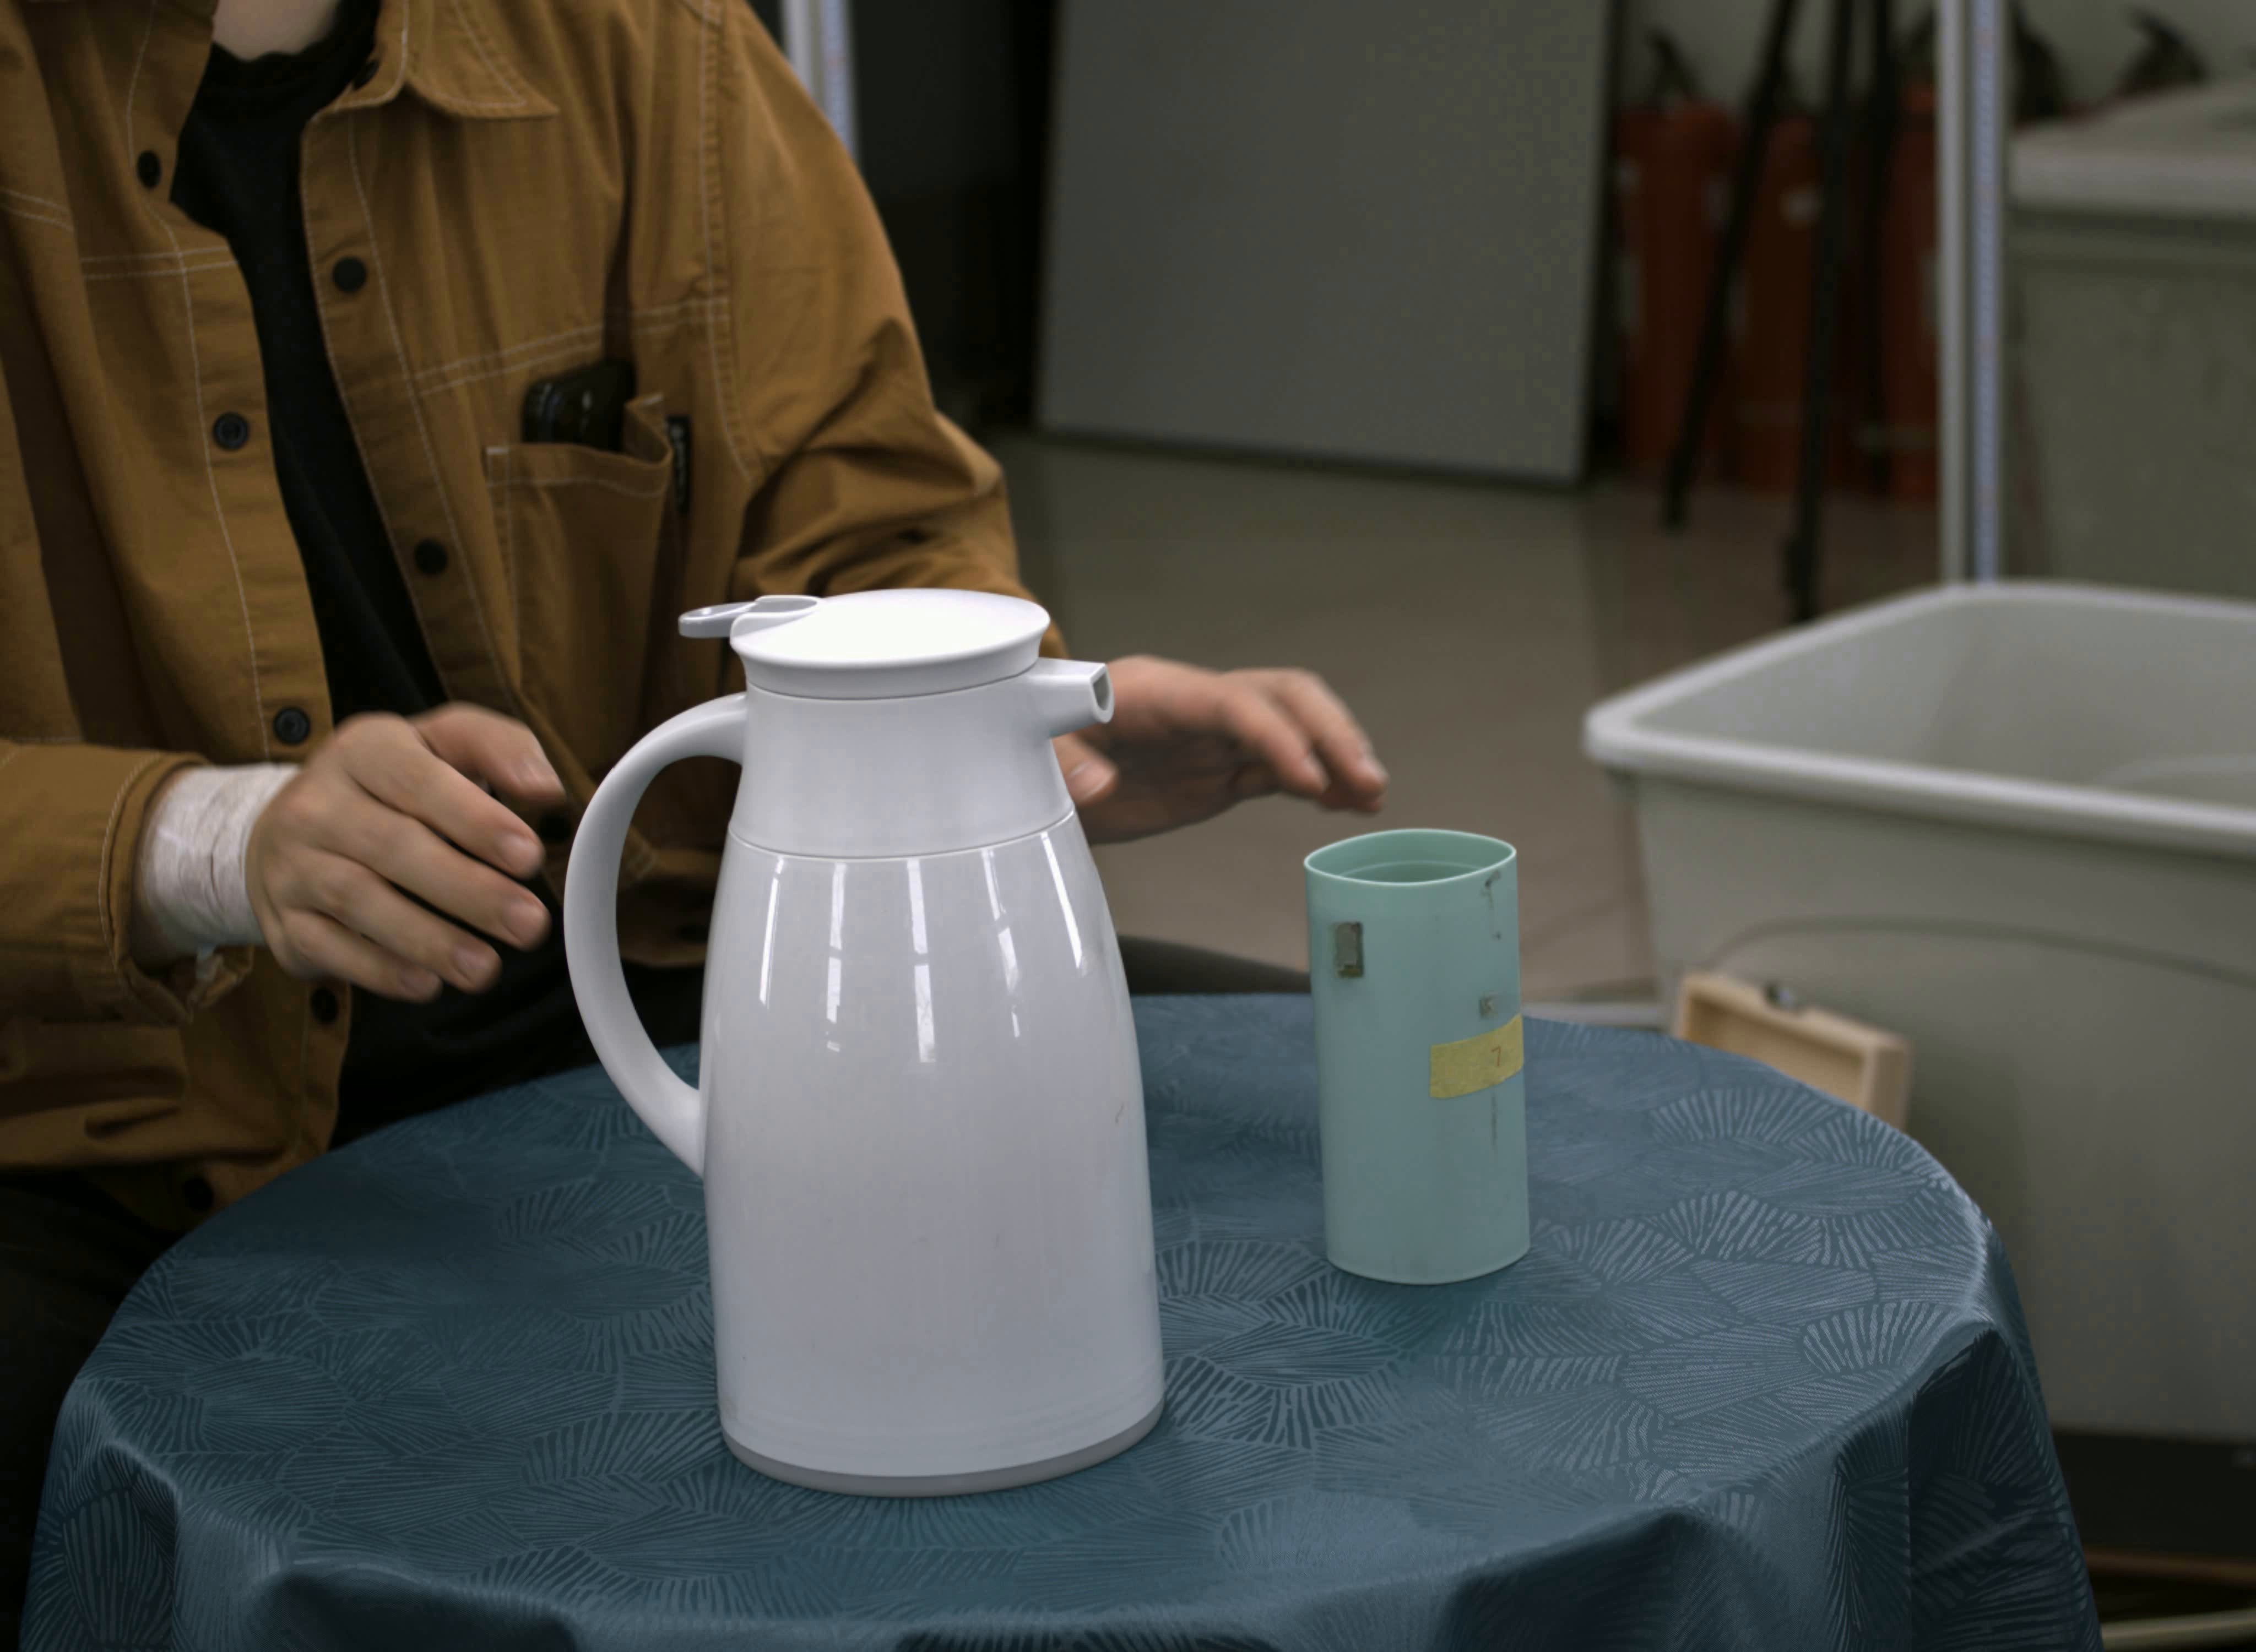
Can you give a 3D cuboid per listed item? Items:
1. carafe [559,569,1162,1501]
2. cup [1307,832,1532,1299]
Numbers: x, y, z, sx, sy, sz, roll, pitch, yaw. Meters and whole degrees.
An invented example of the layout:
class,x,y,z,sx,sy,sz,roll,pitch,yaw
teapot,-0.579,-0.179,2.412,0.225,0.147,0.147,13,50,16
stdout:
class,x,y,z,sx,sy,sz,roll,pitch,yaw
carafe,-0.081,0.053,1.554,0.167,0.251,0.131,-1,14,15
cup,0.091,0.073,1.679,0.066,0.134,0.067,-4,13,0
